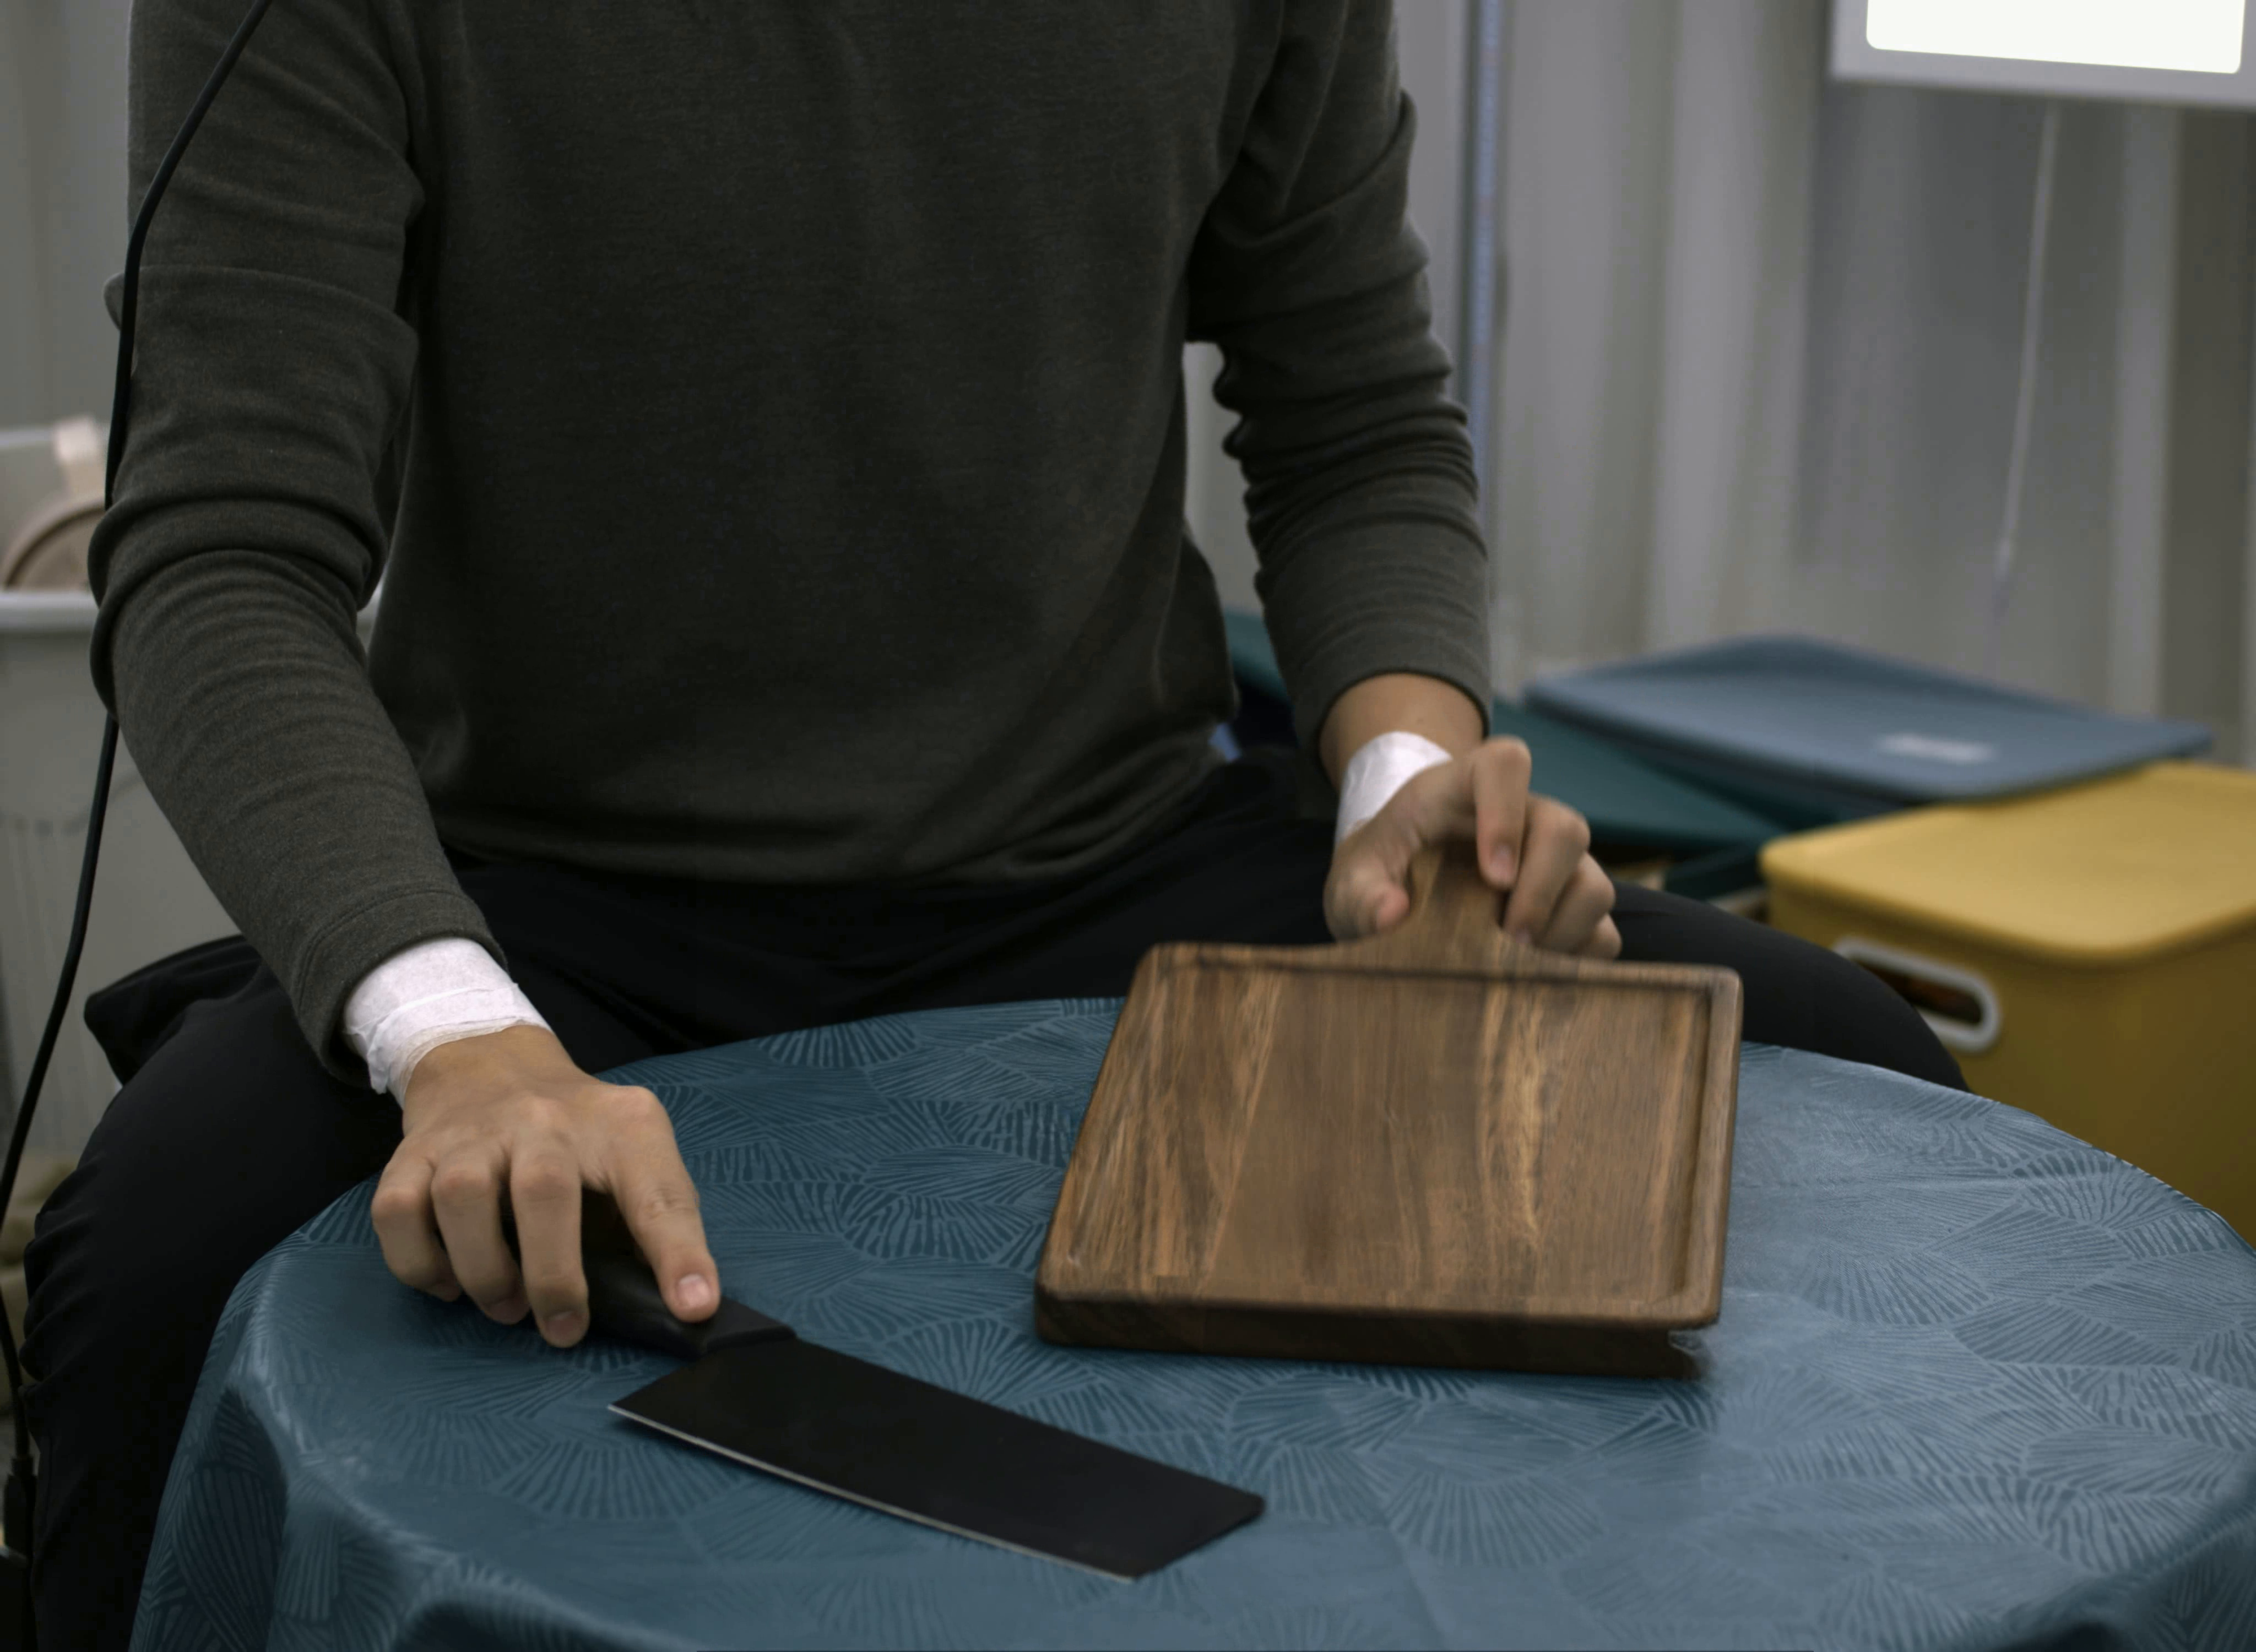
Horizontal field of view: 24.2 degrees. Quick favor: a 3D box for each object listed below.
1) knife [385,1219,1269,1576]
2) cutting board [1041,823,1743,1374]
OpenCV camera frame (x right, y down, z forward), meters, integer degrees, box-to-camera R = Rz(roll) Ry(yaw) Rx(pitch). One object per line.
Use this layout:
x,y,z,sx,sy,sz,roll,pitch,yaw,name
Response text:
-0.095,0.155,1.443,0.298,0.021,0.081,16,24,39,knife
0.092,0.075,1.640,0.200,0.023,0.350,3,23,7,cutting board
